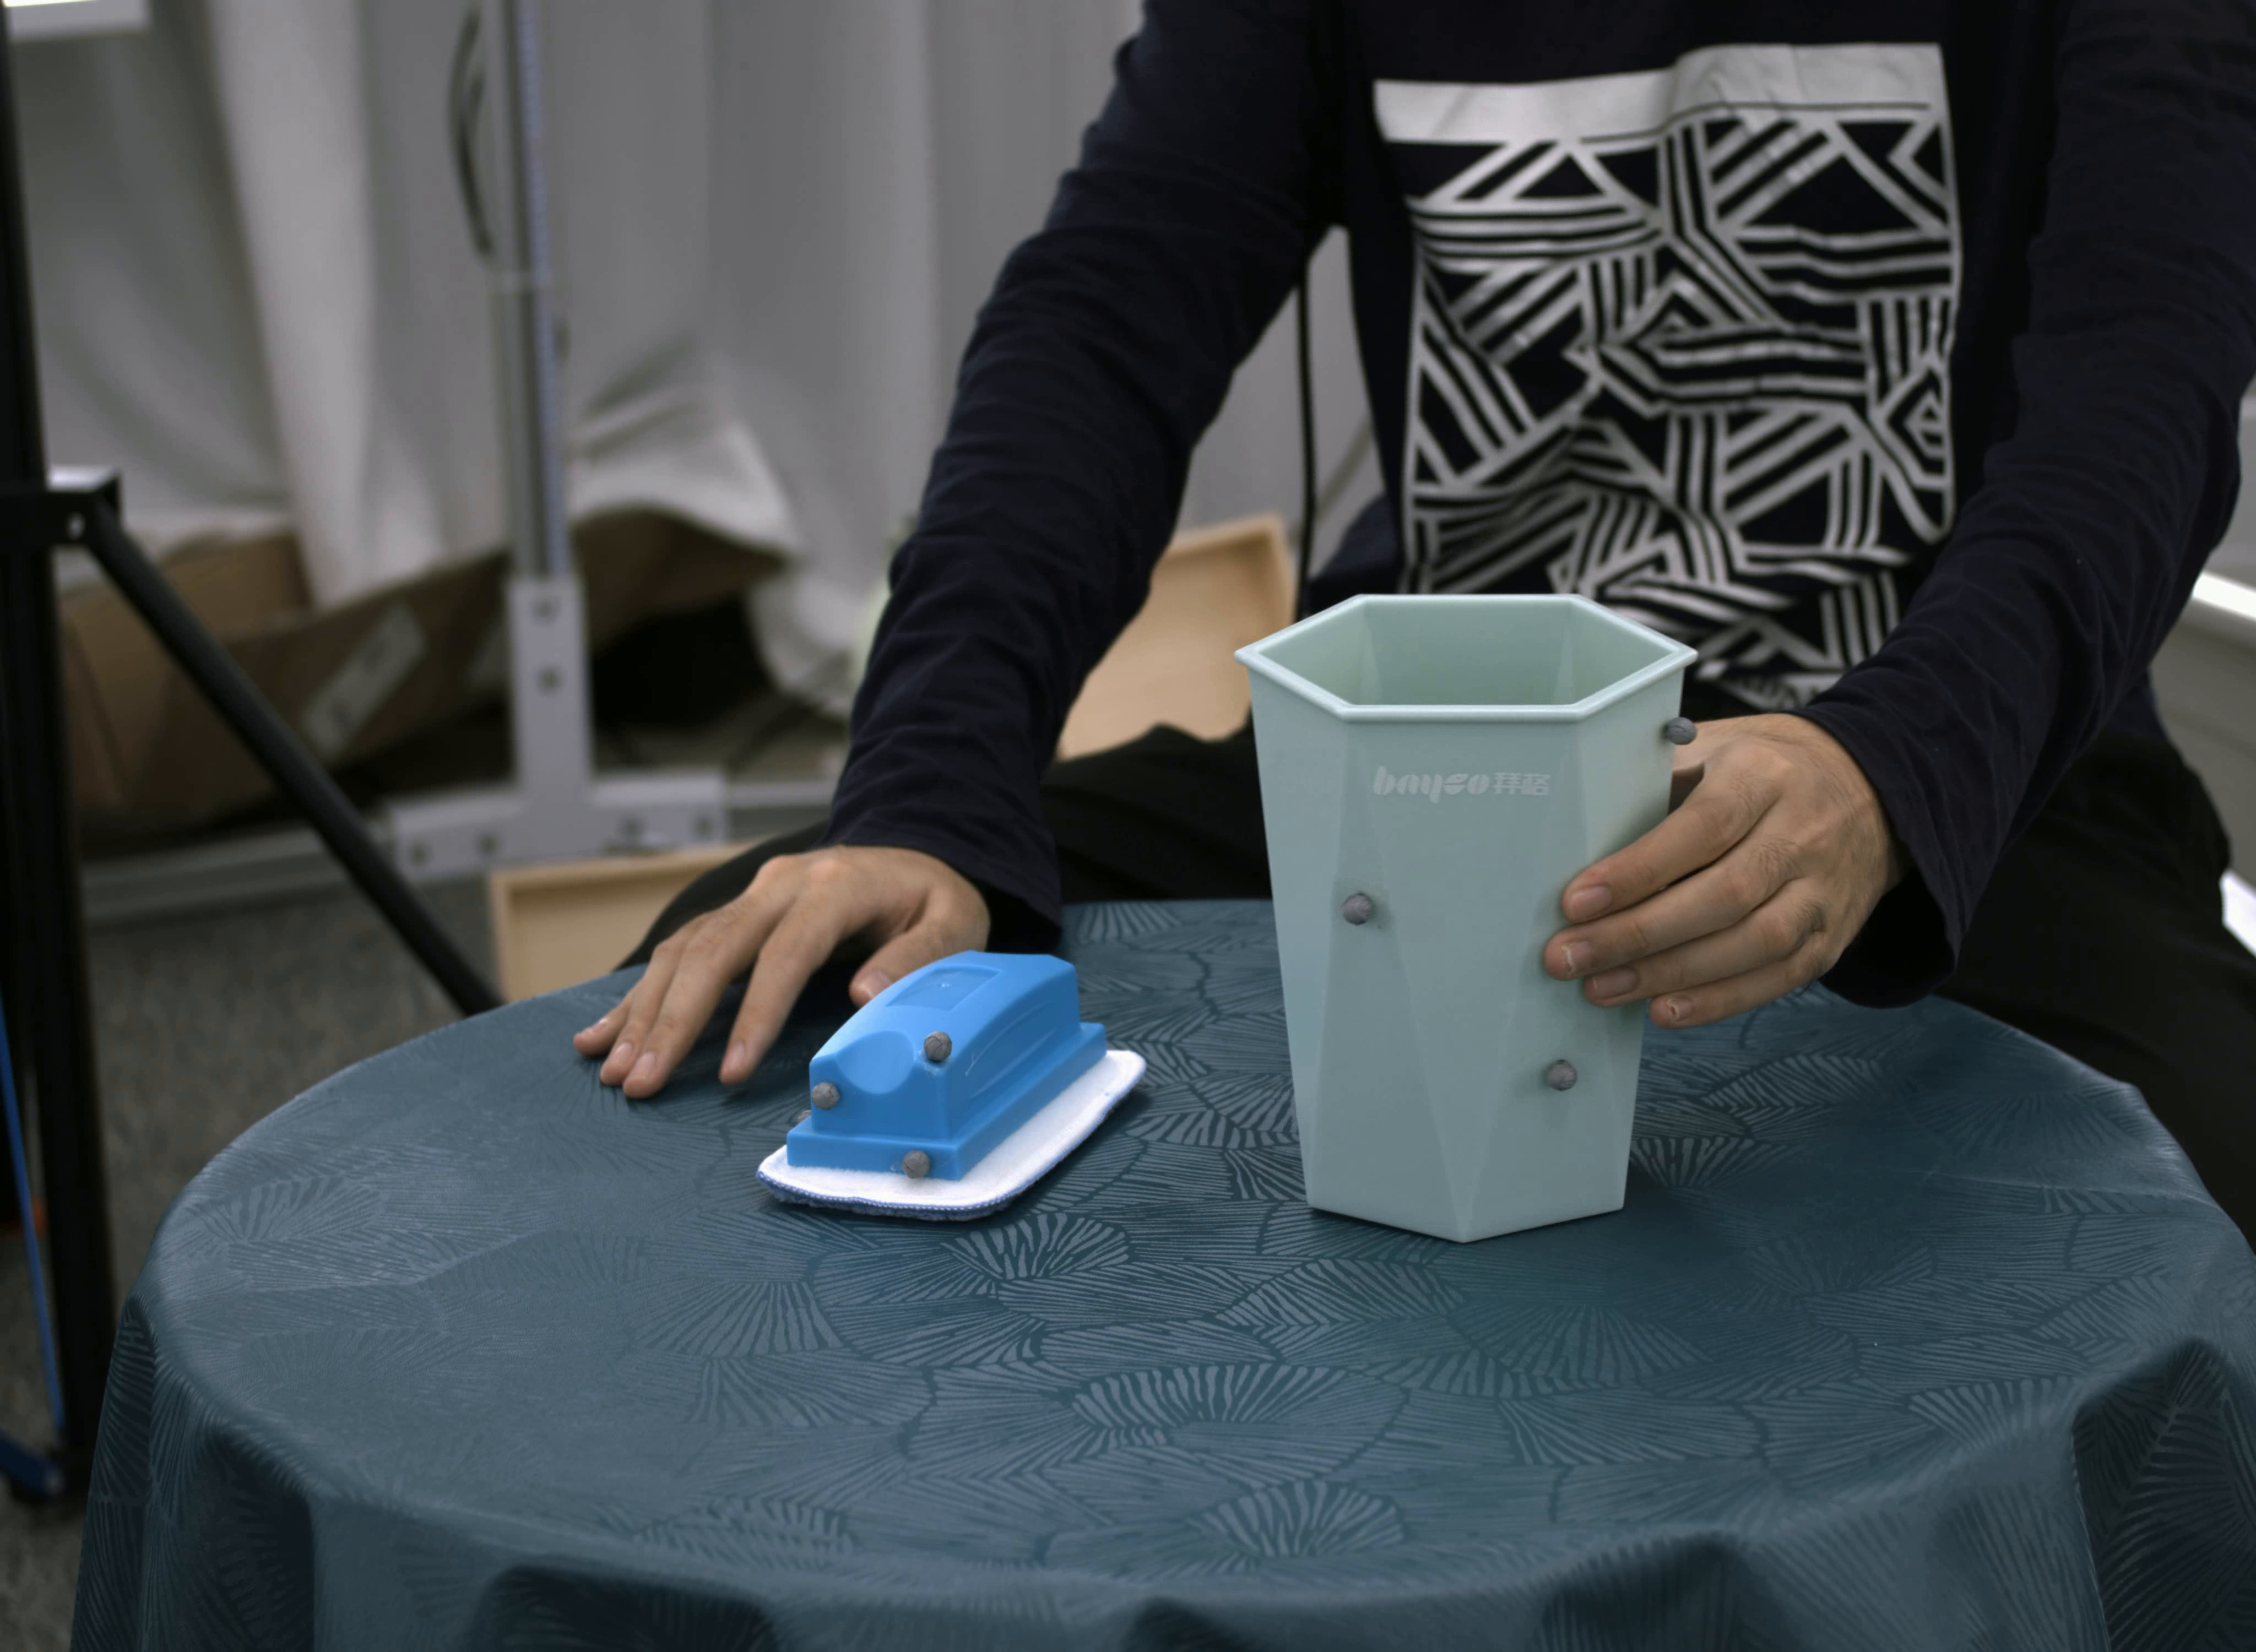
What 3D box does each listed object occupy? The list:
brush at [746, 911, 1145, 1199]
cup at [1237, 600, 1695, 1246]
[{"bbox_3d":[-0.053,0.065,1.608,0.085,0.056,0.142,8,21,22],"label":"brush"},{"bbox_3d":[0.097,0.027,1.529,0.131,0.163,0.115,0,15,4],"label":"cup"}]
